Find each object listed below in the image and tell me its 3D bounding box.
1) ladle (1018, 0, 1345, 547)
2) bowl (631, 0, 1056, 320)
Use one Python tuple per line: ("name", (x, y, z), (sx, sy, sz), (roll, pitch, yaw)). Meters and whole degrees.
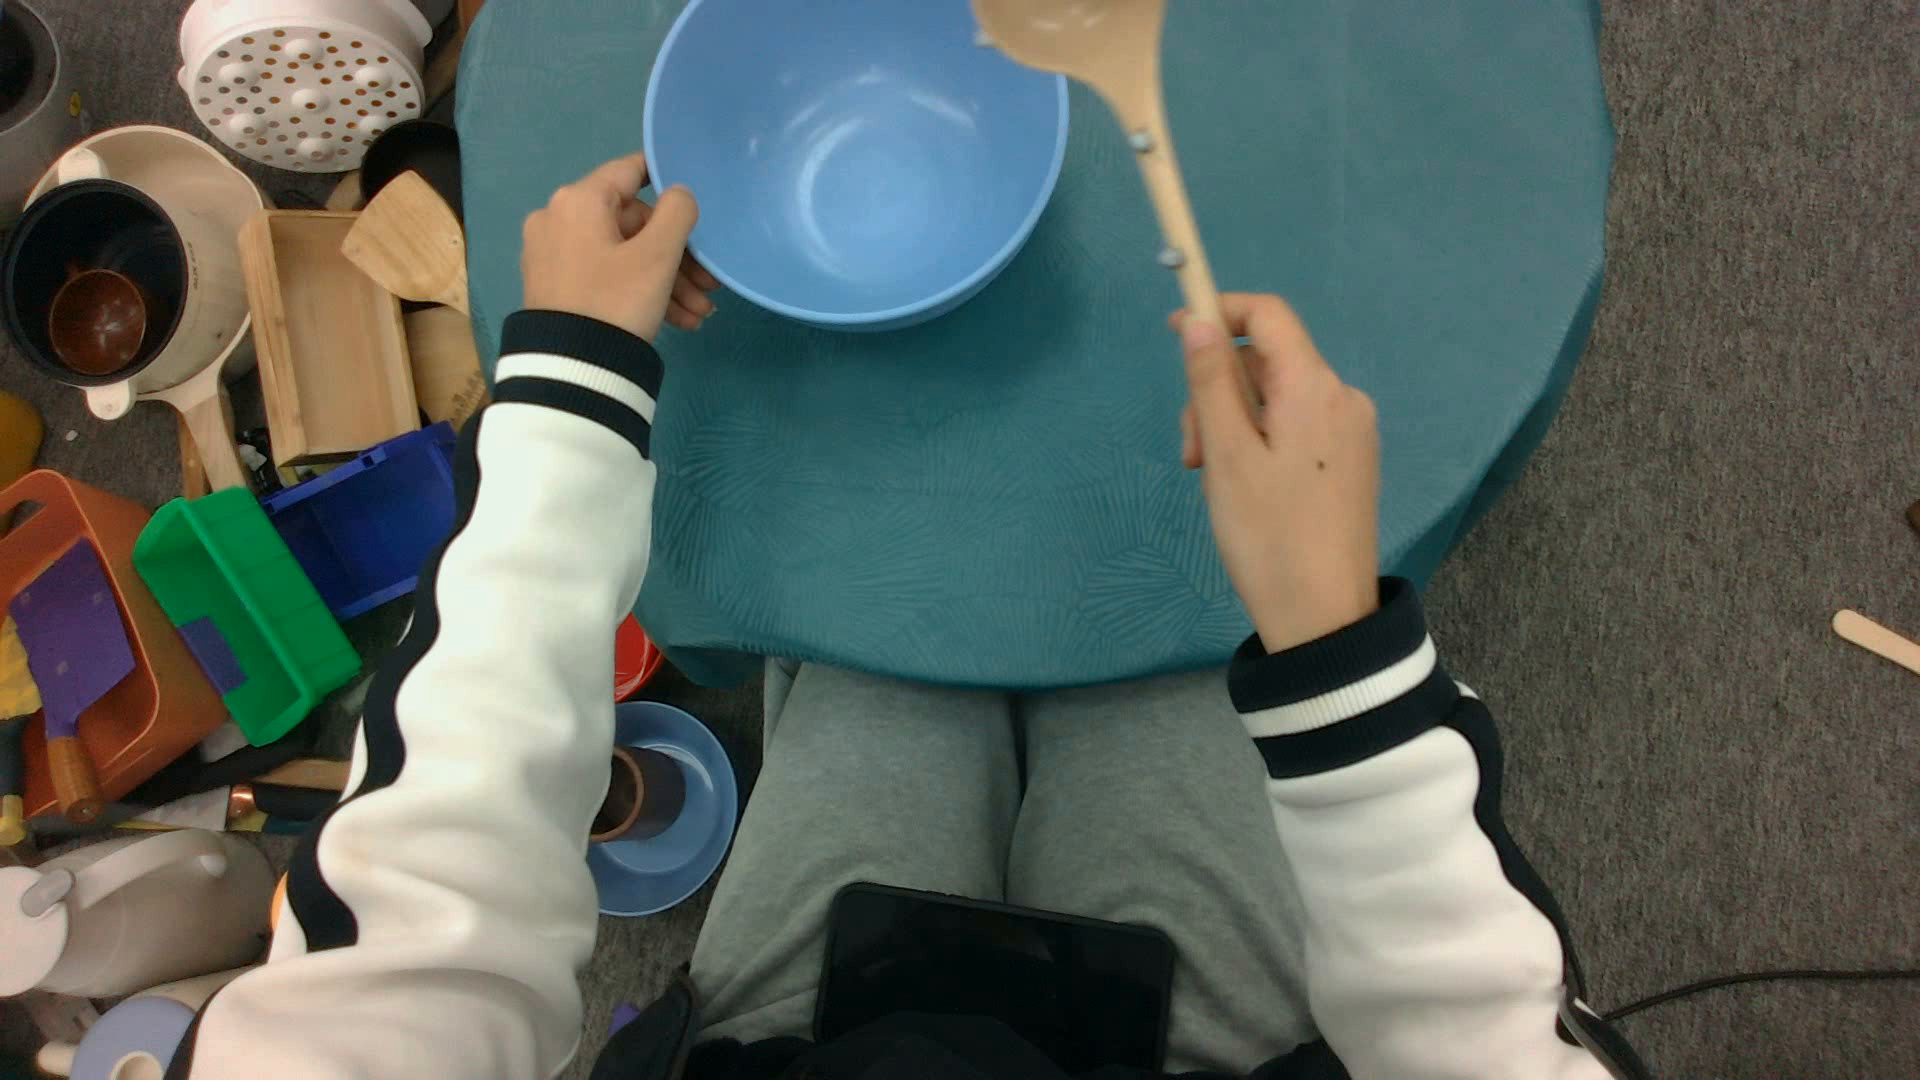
("ladle", (0.083, -0.116, 0.510), (0.072, 0.073, 0.254), (-22, 80, 45))
("bowl", (-0.051, -0.190, 0.675), (0.196, 0.095, 0.197), (-1, 78, 4))
